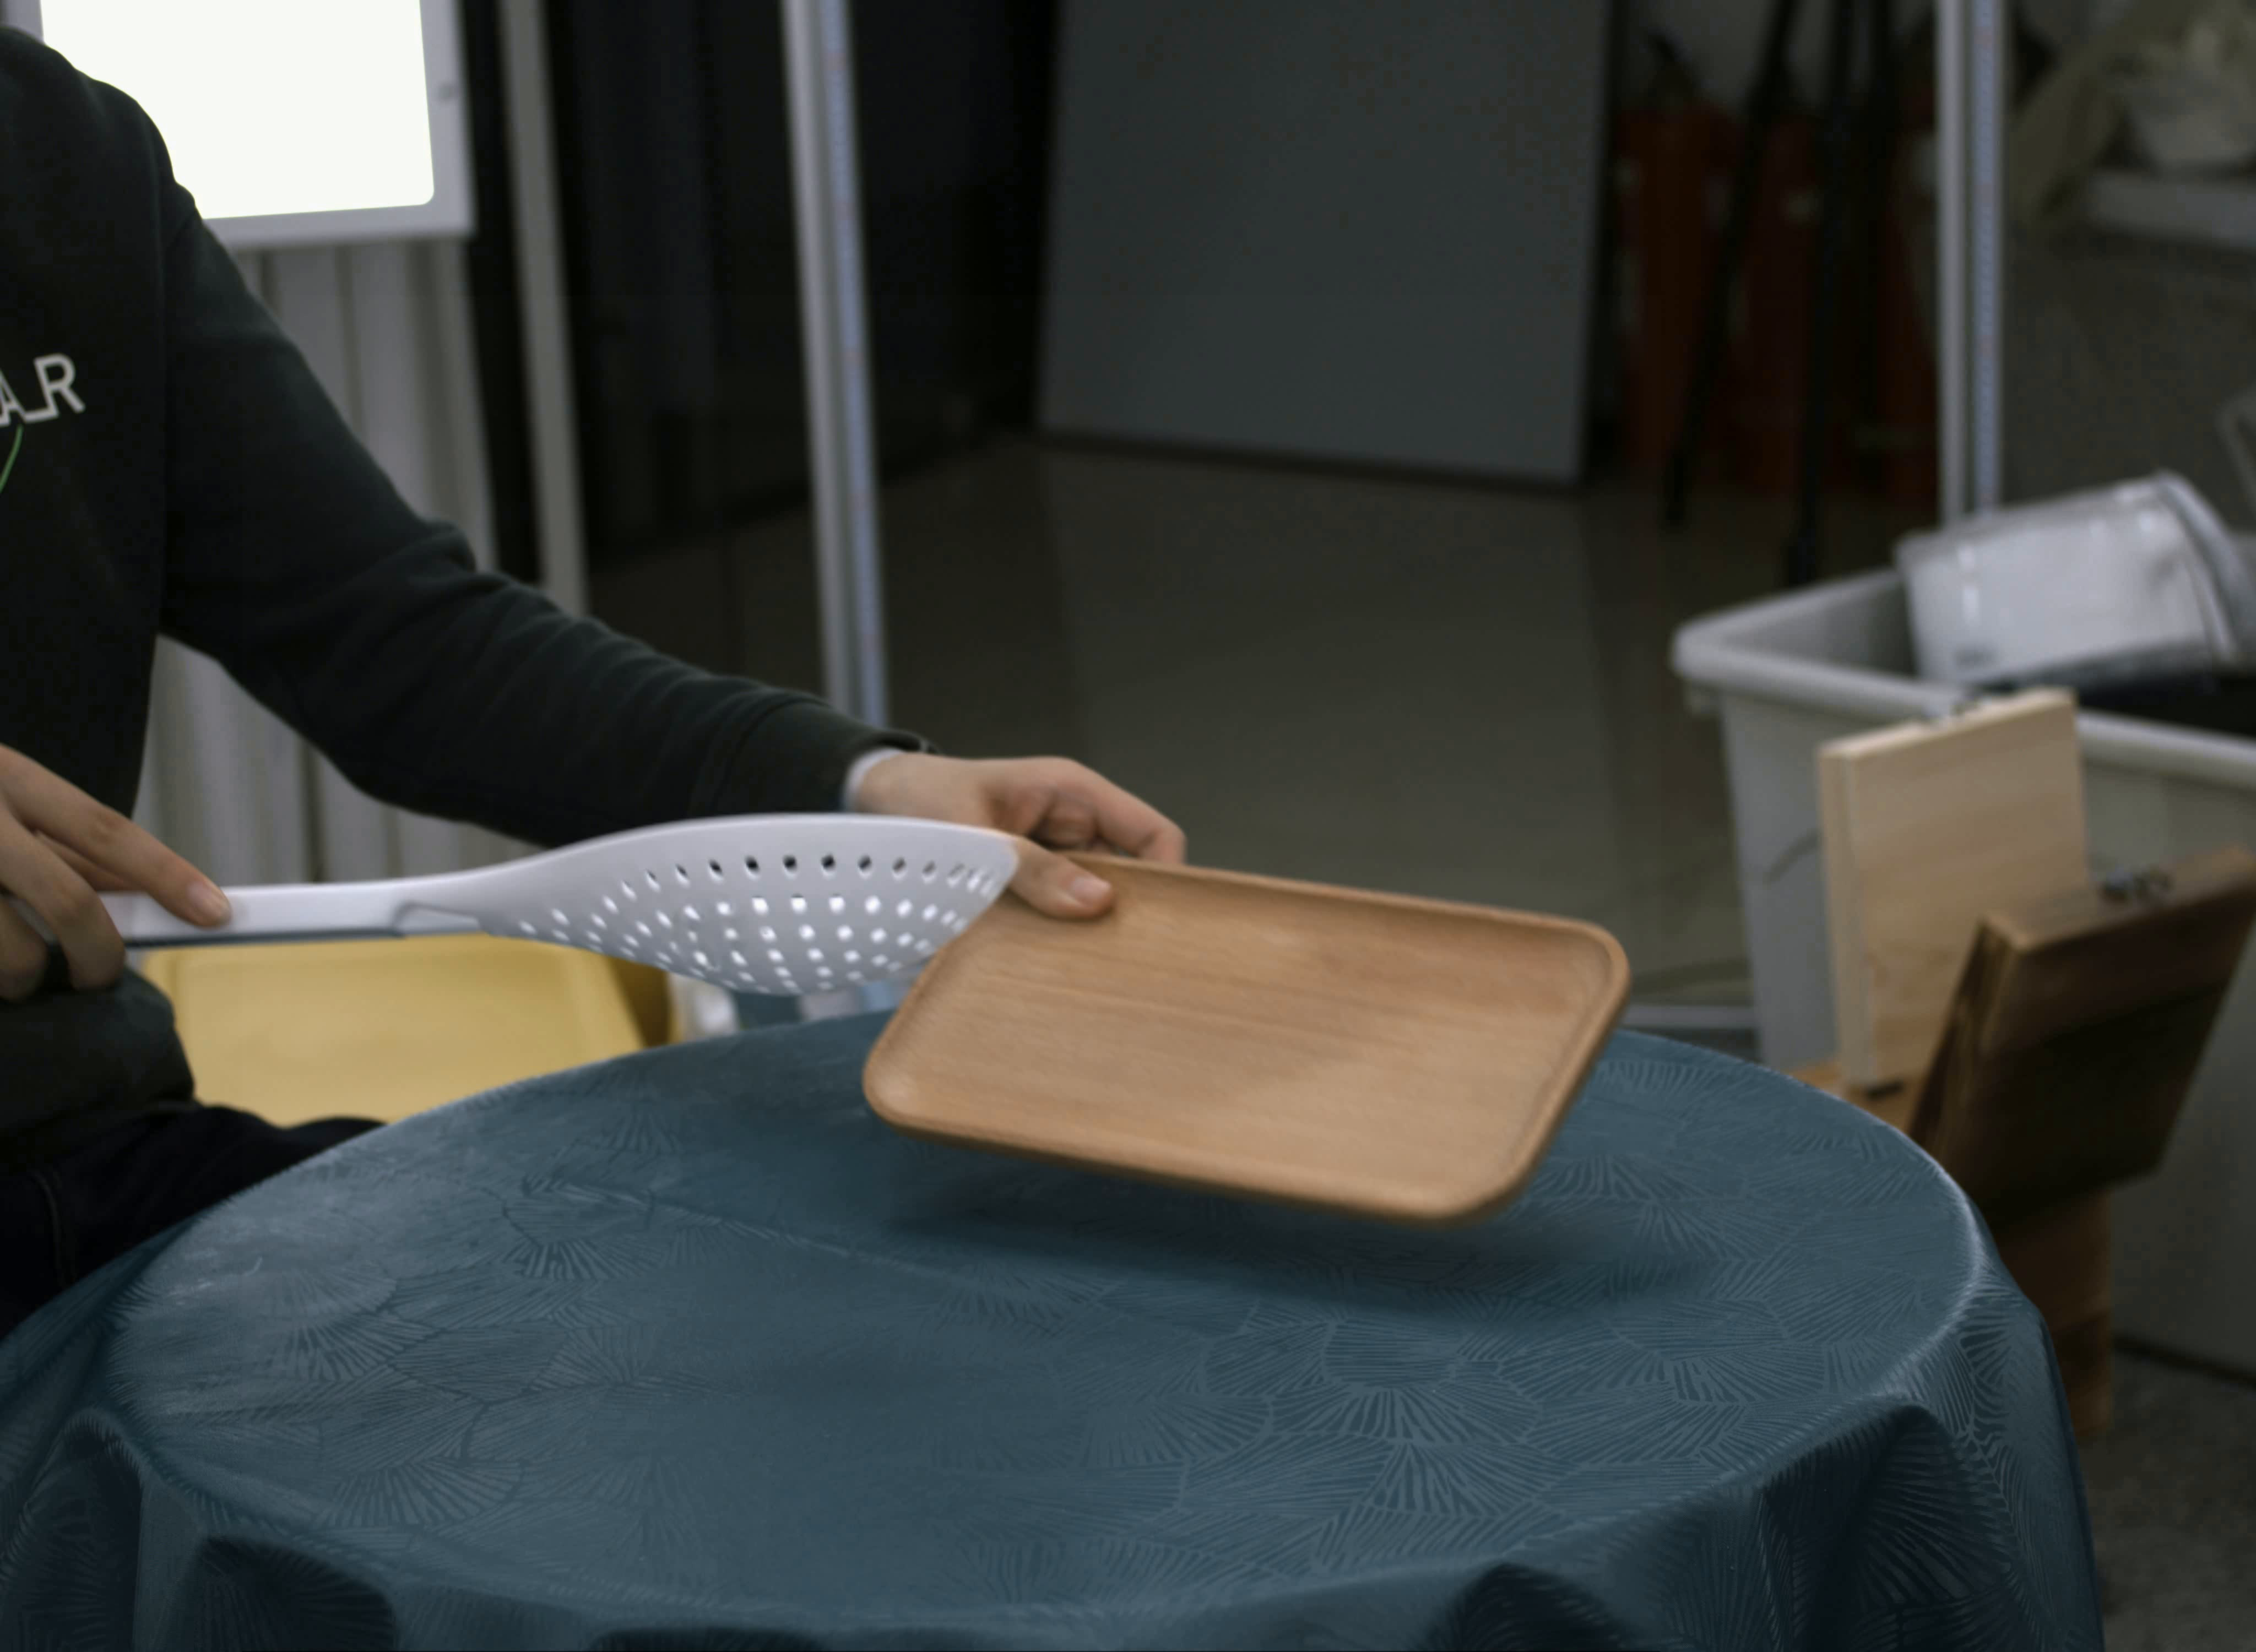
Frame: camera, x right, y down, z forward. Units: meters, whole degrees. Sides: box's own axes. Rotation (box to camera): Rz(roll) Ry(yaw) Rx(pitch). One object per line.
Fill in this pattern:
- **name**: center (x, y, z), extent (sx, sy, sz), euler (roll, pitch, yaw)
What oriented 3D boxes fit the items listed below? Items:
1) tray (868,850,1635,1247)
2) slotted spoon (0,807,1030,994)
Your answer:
- **tray**: center (0.038, 0.070, 1.729), extent (0.252, 0.023, 0.130), euler (8, 48, 35)
- **slotted spoon**: center (-0.201, 0.024, 1.603), extent (0.347, 0.046, 0.135), euler (1, -11, 11)
